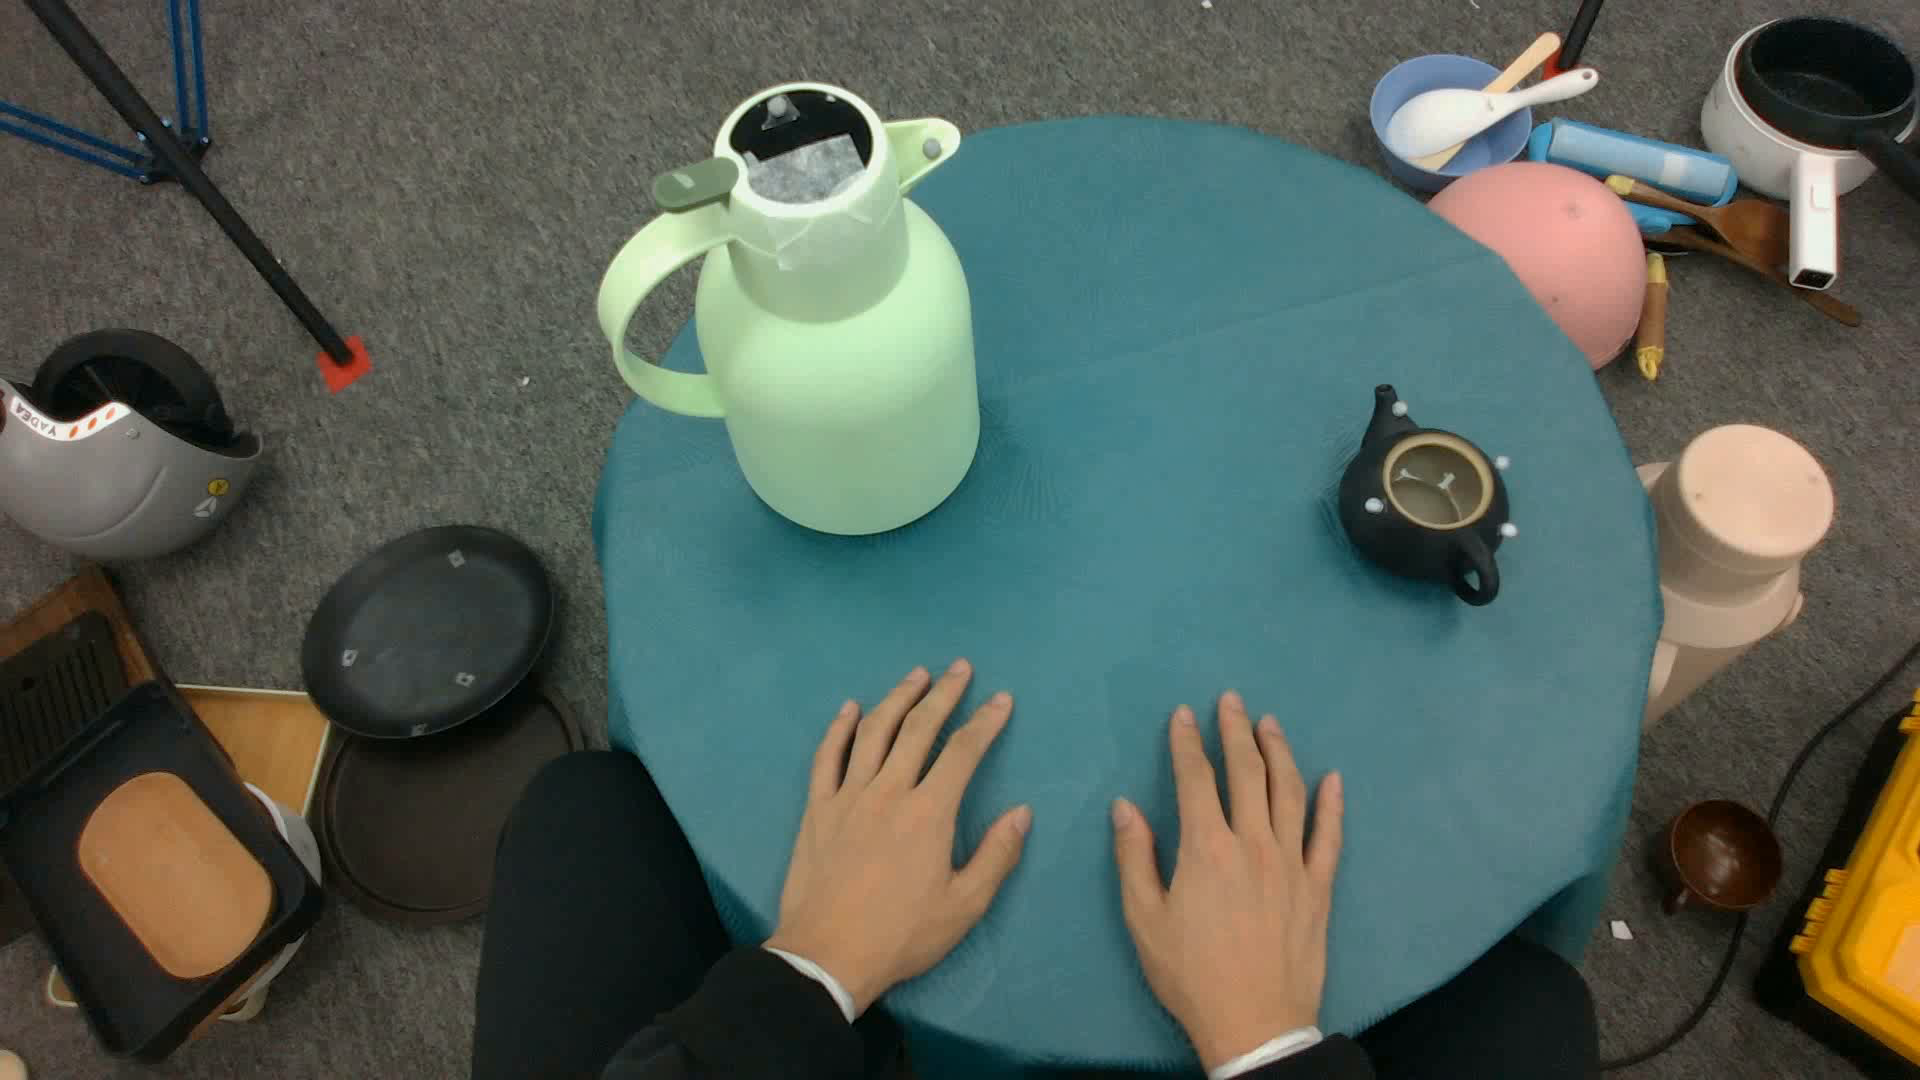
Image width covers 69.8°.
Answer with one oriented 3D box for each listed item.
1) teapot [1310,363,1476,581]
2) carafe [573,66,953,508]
[{"bbox_3d":[0.242,-0.034,0.768,0.091,0.053,0.133,-20,66,-6],"label":"teapot"},{"bbox_3d":[-0.092,-0.122,0.707,0.187,0.256,0.144,-25,68,-6],"label":"carafe"}]
